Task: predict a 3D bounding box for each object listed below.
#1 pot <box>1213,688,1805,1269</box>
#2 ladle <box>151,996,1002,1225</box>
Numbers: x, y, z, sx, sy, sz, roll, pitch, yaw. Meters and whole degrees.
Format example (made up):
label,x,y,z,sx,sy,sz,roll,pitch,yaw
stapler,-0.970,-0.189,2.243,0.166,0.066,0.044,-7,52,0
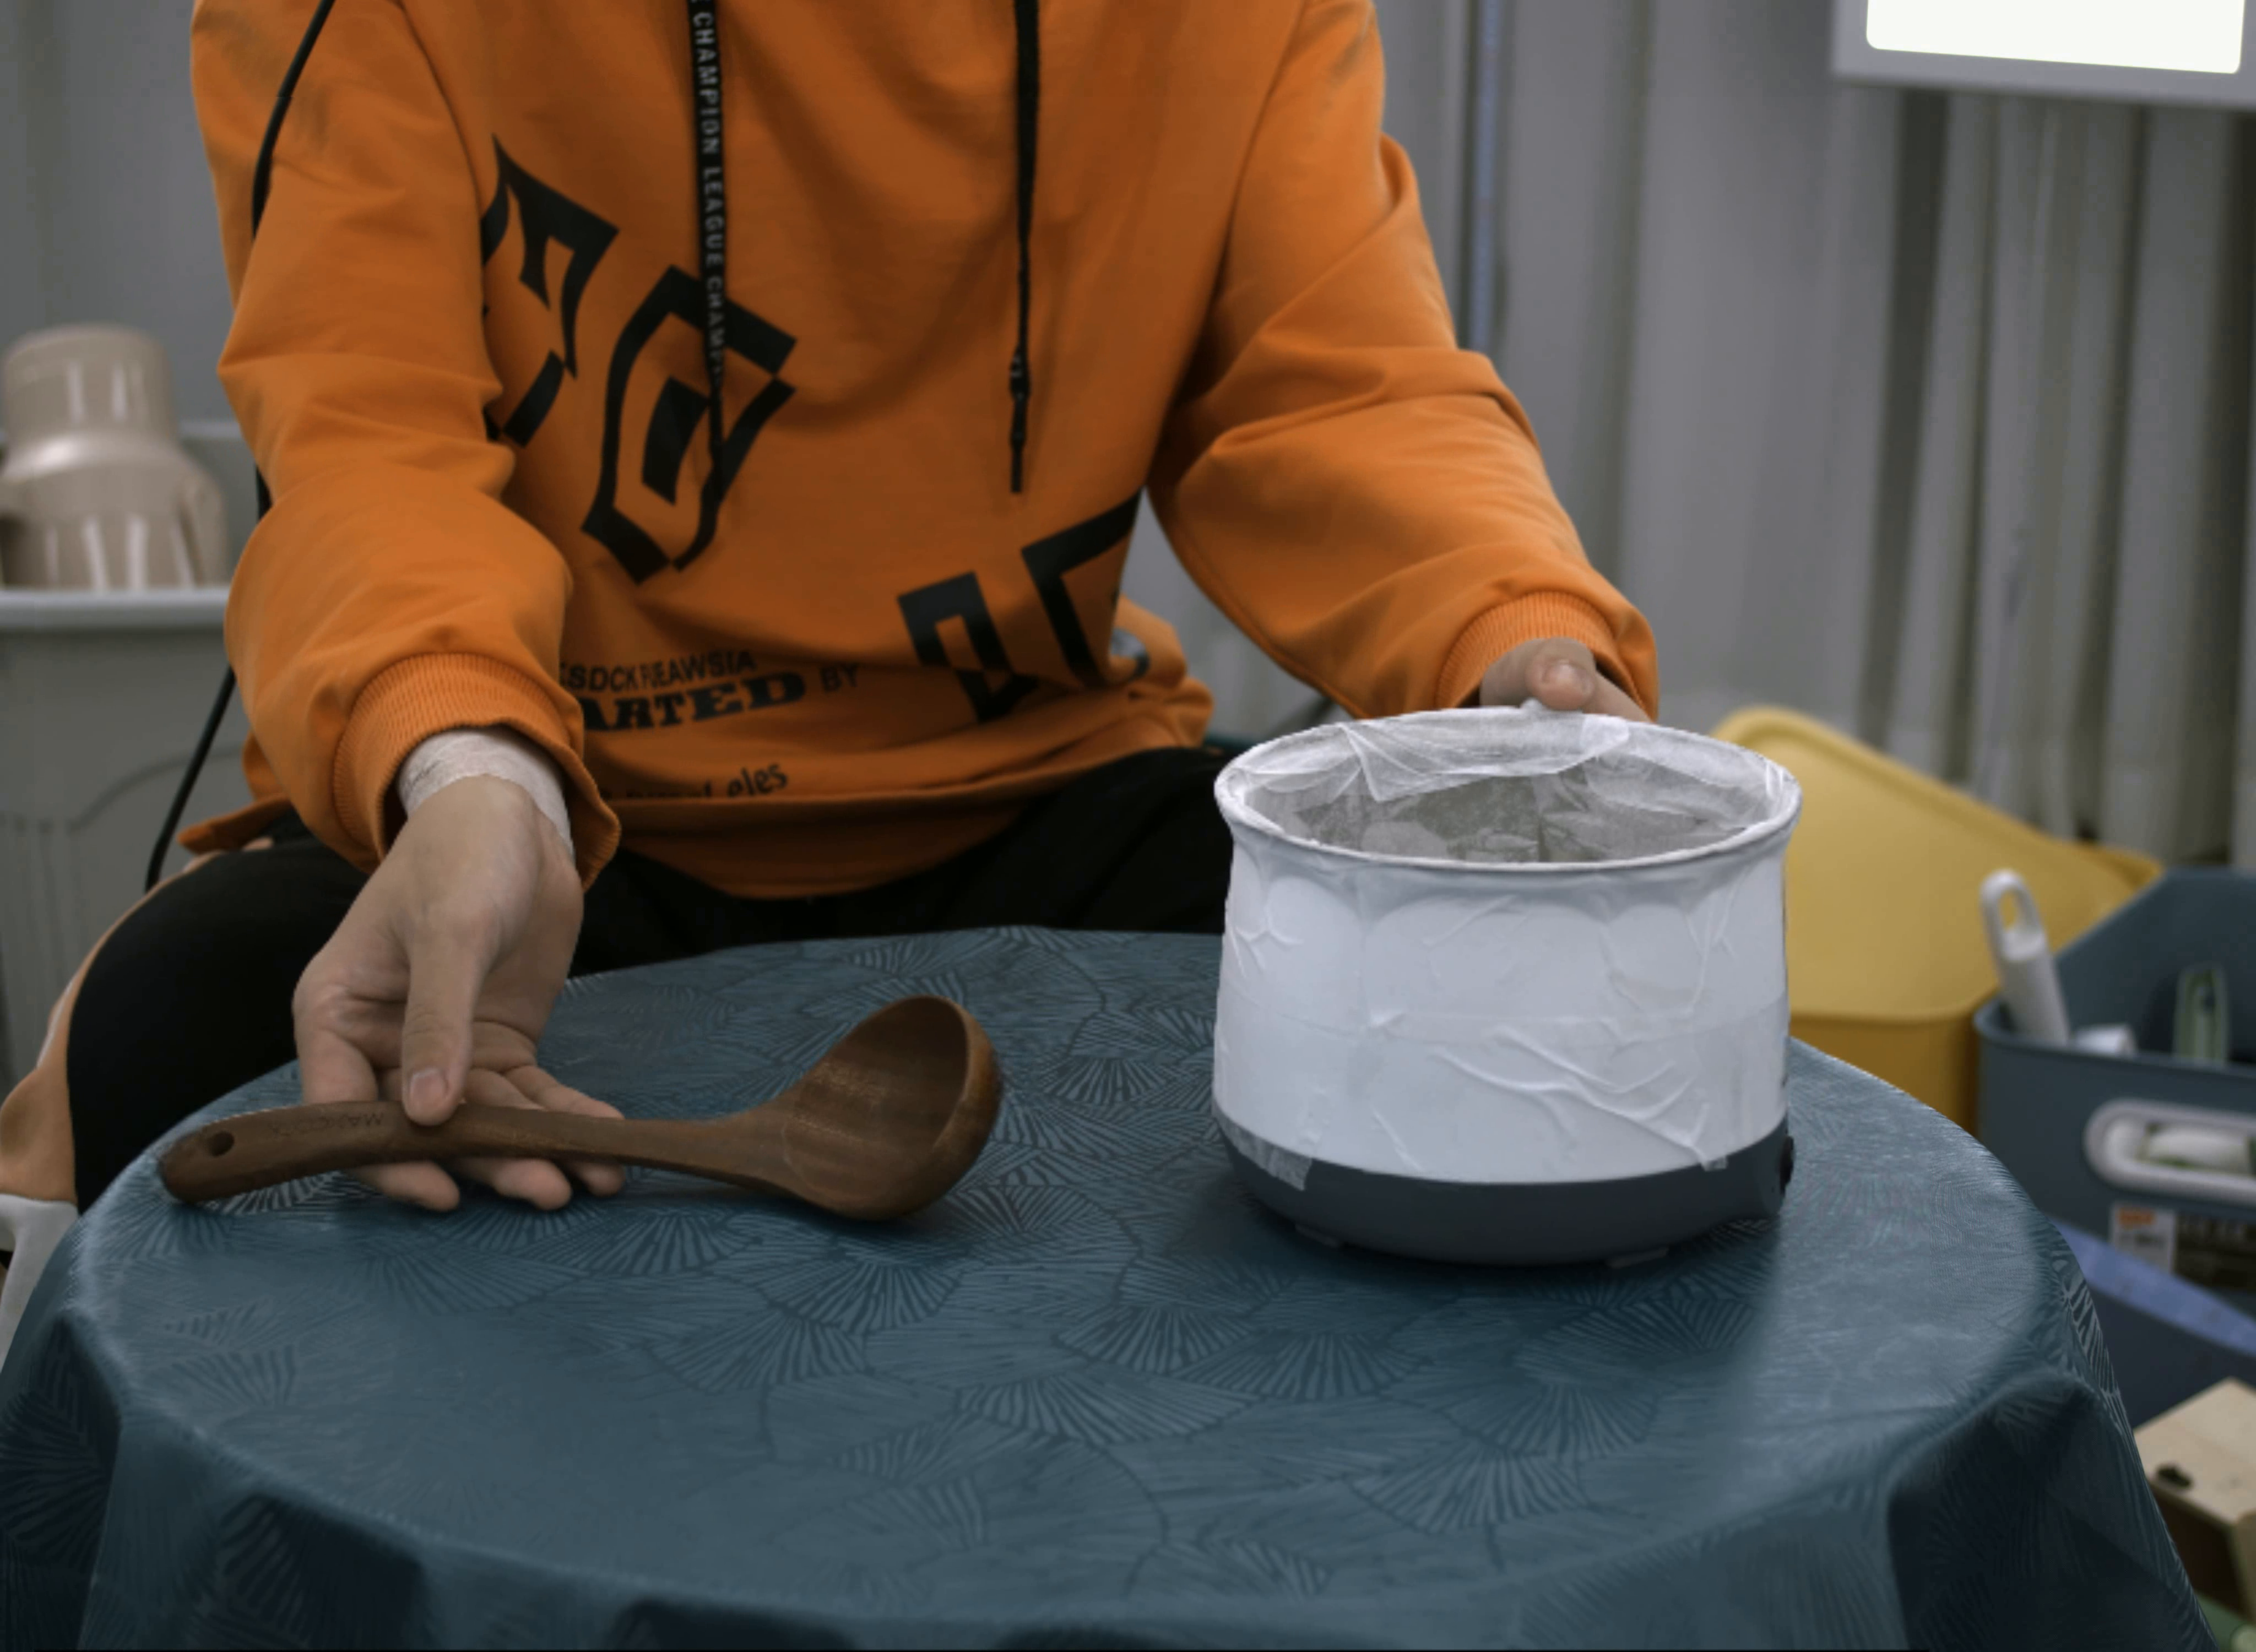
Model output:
label,x,y,z,sx,sy,sz,roll,pitch,yaw
pot,0.119,0.041,1.625,0.177,0.138,0.233,3,16,9
ladle,-0.168,0.087,1.594,0.259,0.066,0.076,0,44,-3
